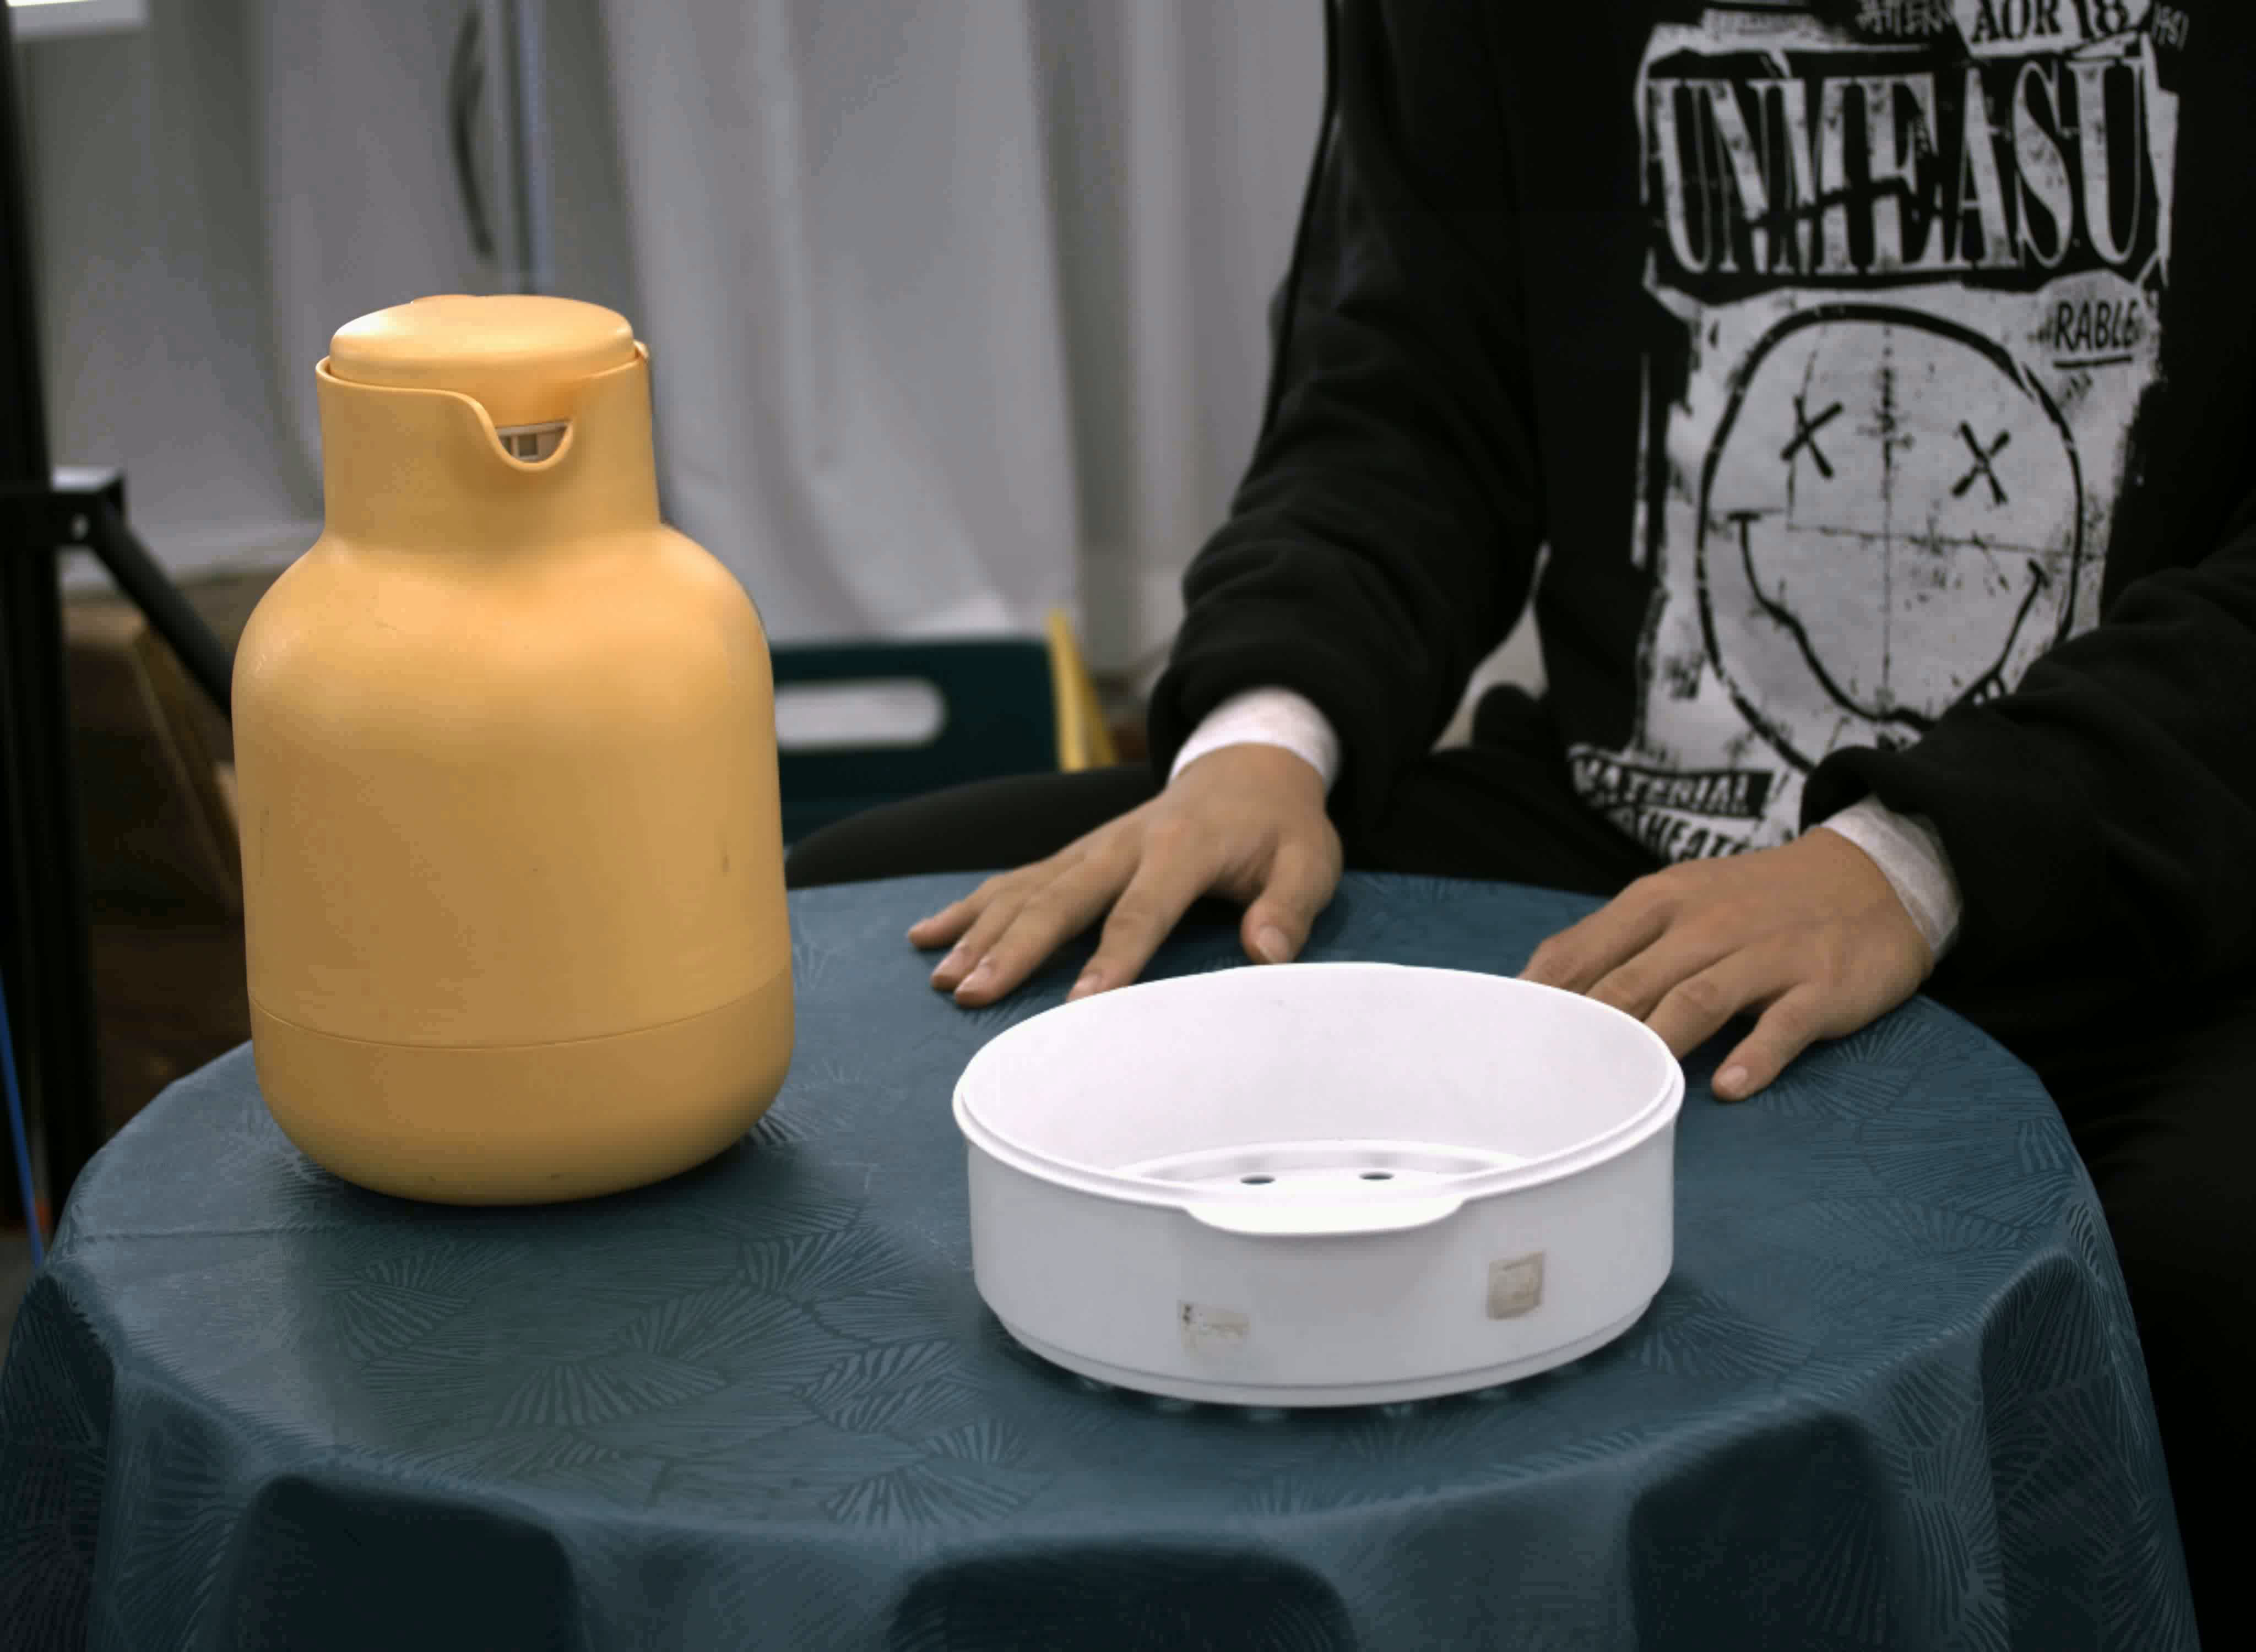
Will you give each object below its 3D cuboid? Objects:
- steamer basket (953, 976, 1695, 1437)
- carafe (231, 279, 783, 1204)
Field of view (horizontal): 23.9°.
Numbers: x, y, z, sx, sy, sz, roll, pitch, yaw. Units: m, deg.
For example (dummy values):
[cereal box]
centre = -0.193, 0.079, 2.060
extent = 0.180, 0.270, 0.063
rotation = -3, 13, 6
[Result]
[steamer basket]
centre = 0.054, 0.103, 1.449
extent = 0.201, 0.069, 0.231
rotation = -3, 16, 2
[carafe]
centre = -0.189, -0.033, 1.607
extent = 0.161, 0.260, 0.205
rotation = -3, 16, -14
